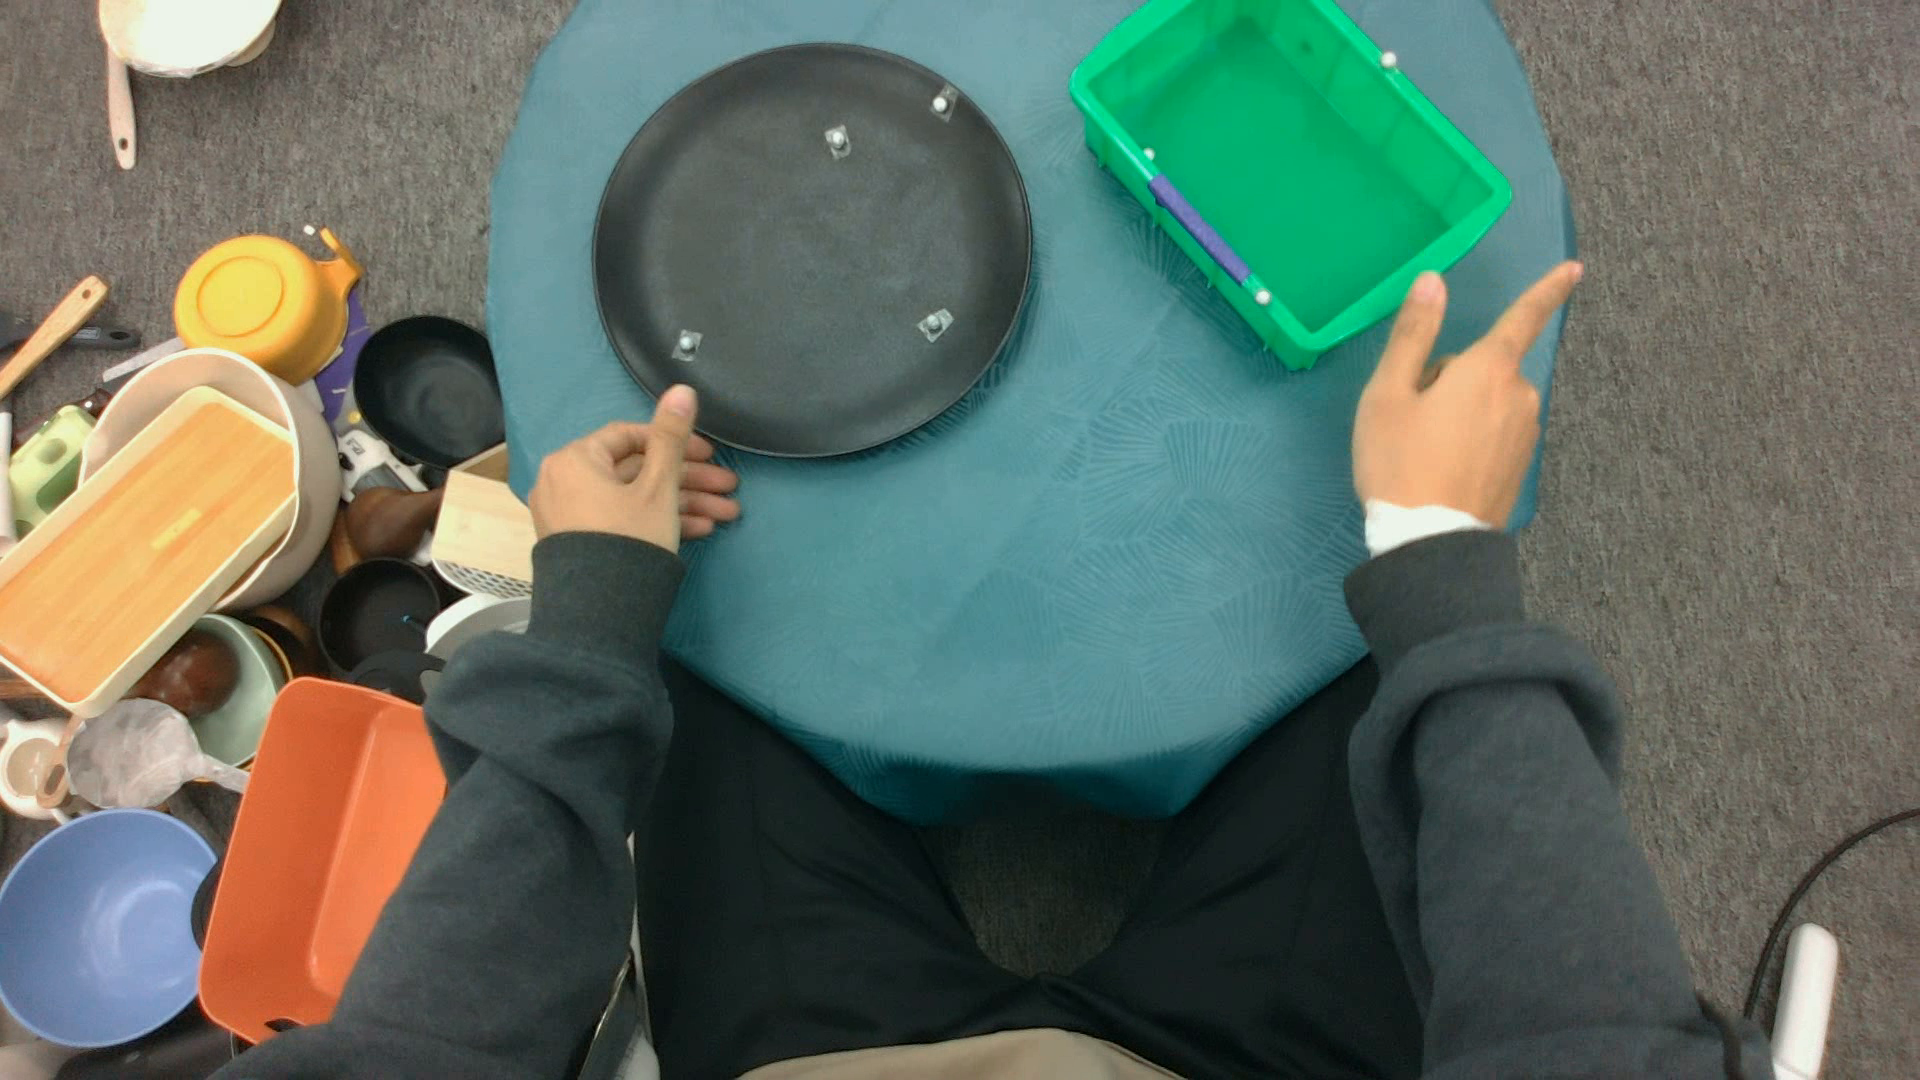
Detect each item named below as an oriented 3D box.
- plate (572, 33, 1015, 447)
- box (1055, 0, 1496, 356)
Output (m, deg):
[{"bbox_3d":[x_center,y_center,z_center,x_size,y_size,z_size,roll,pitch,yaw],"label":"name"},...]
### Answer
[{"bbox_3d":[-0.091,-0.165,0.760,0.244,0.023,0.245,0,77,2],"label":"plate"},{"bbox_3d":[0.162,-0.208,0.737,0.139,0.065,0.210,-40,81,-4],"label":"box"}]
